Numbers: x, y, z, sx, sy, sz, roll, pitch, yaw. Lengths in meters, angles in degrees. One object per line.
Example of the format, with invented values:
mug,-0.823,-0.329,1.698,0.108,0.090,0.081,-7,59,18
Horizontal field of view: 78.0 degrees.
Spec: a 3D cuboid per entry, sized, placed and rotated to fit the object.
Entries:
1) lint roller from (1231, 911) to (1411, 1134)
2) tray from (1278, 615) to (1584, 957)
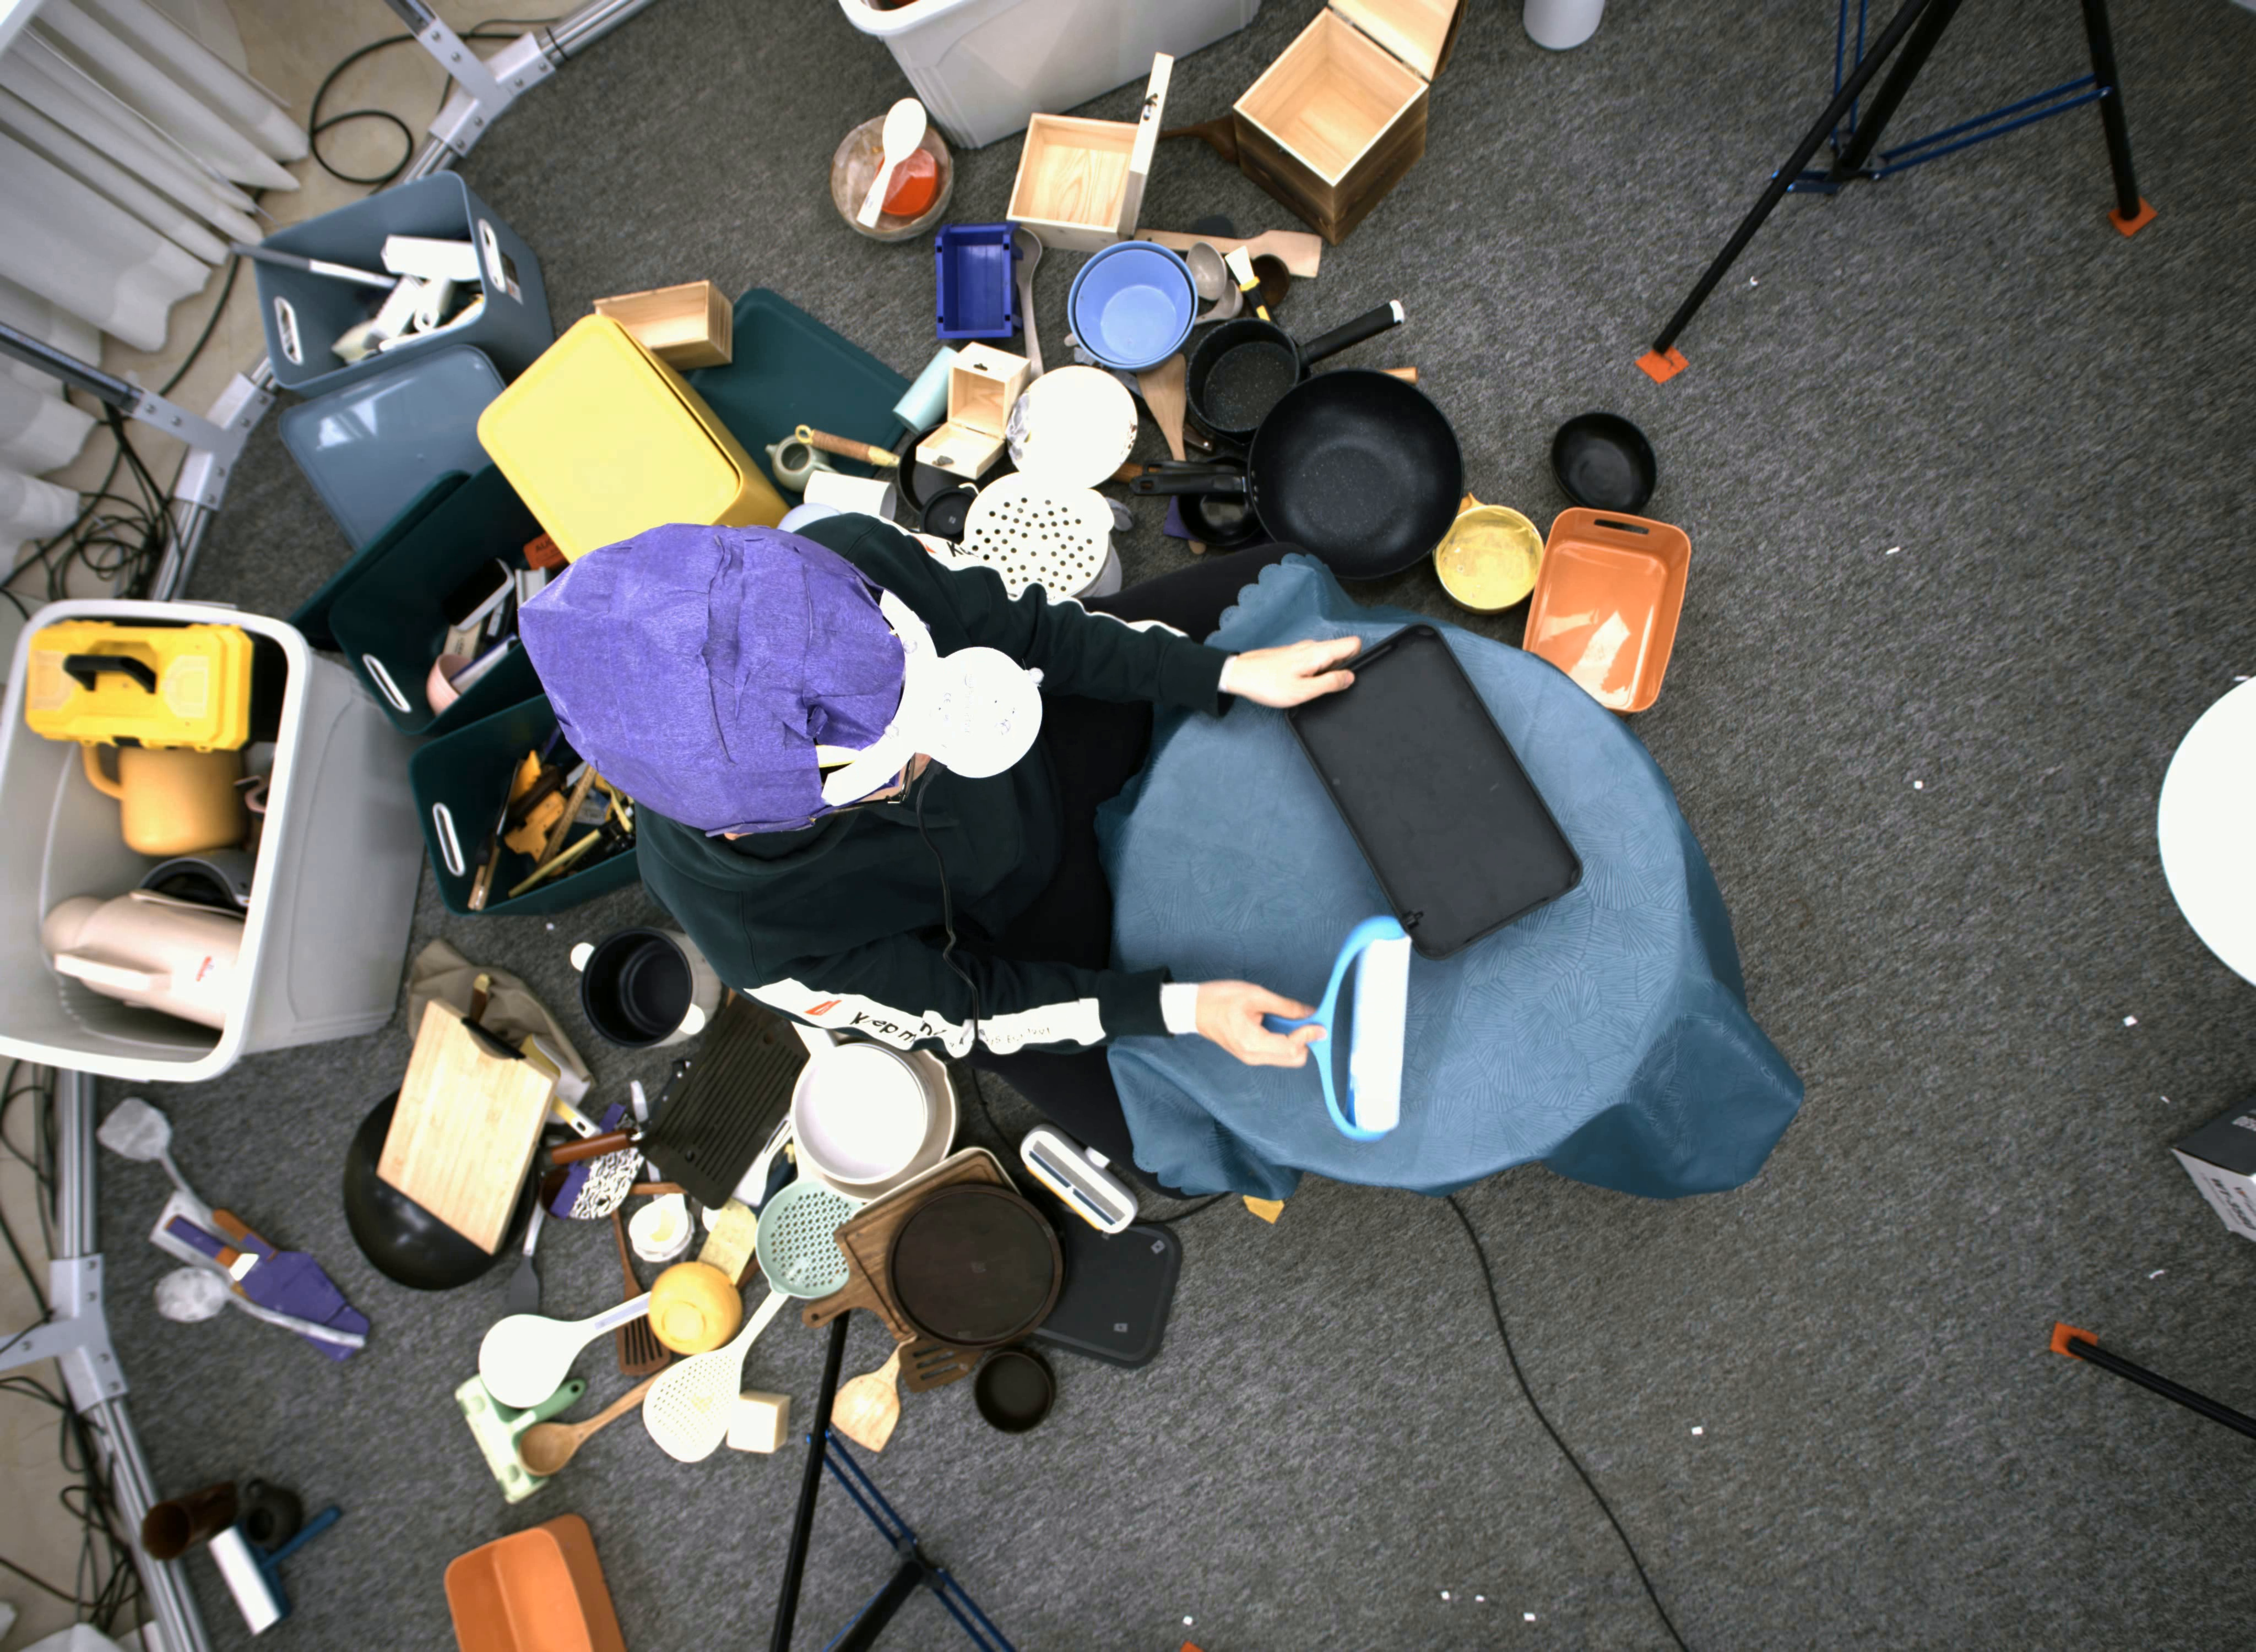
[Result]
lint roller,0.189,0.195,1.381,0.181,0.067,0.231,0,105,11
tray,0.304,-0.042,1.396,0.186,0.037,0.315,-33,77,14
